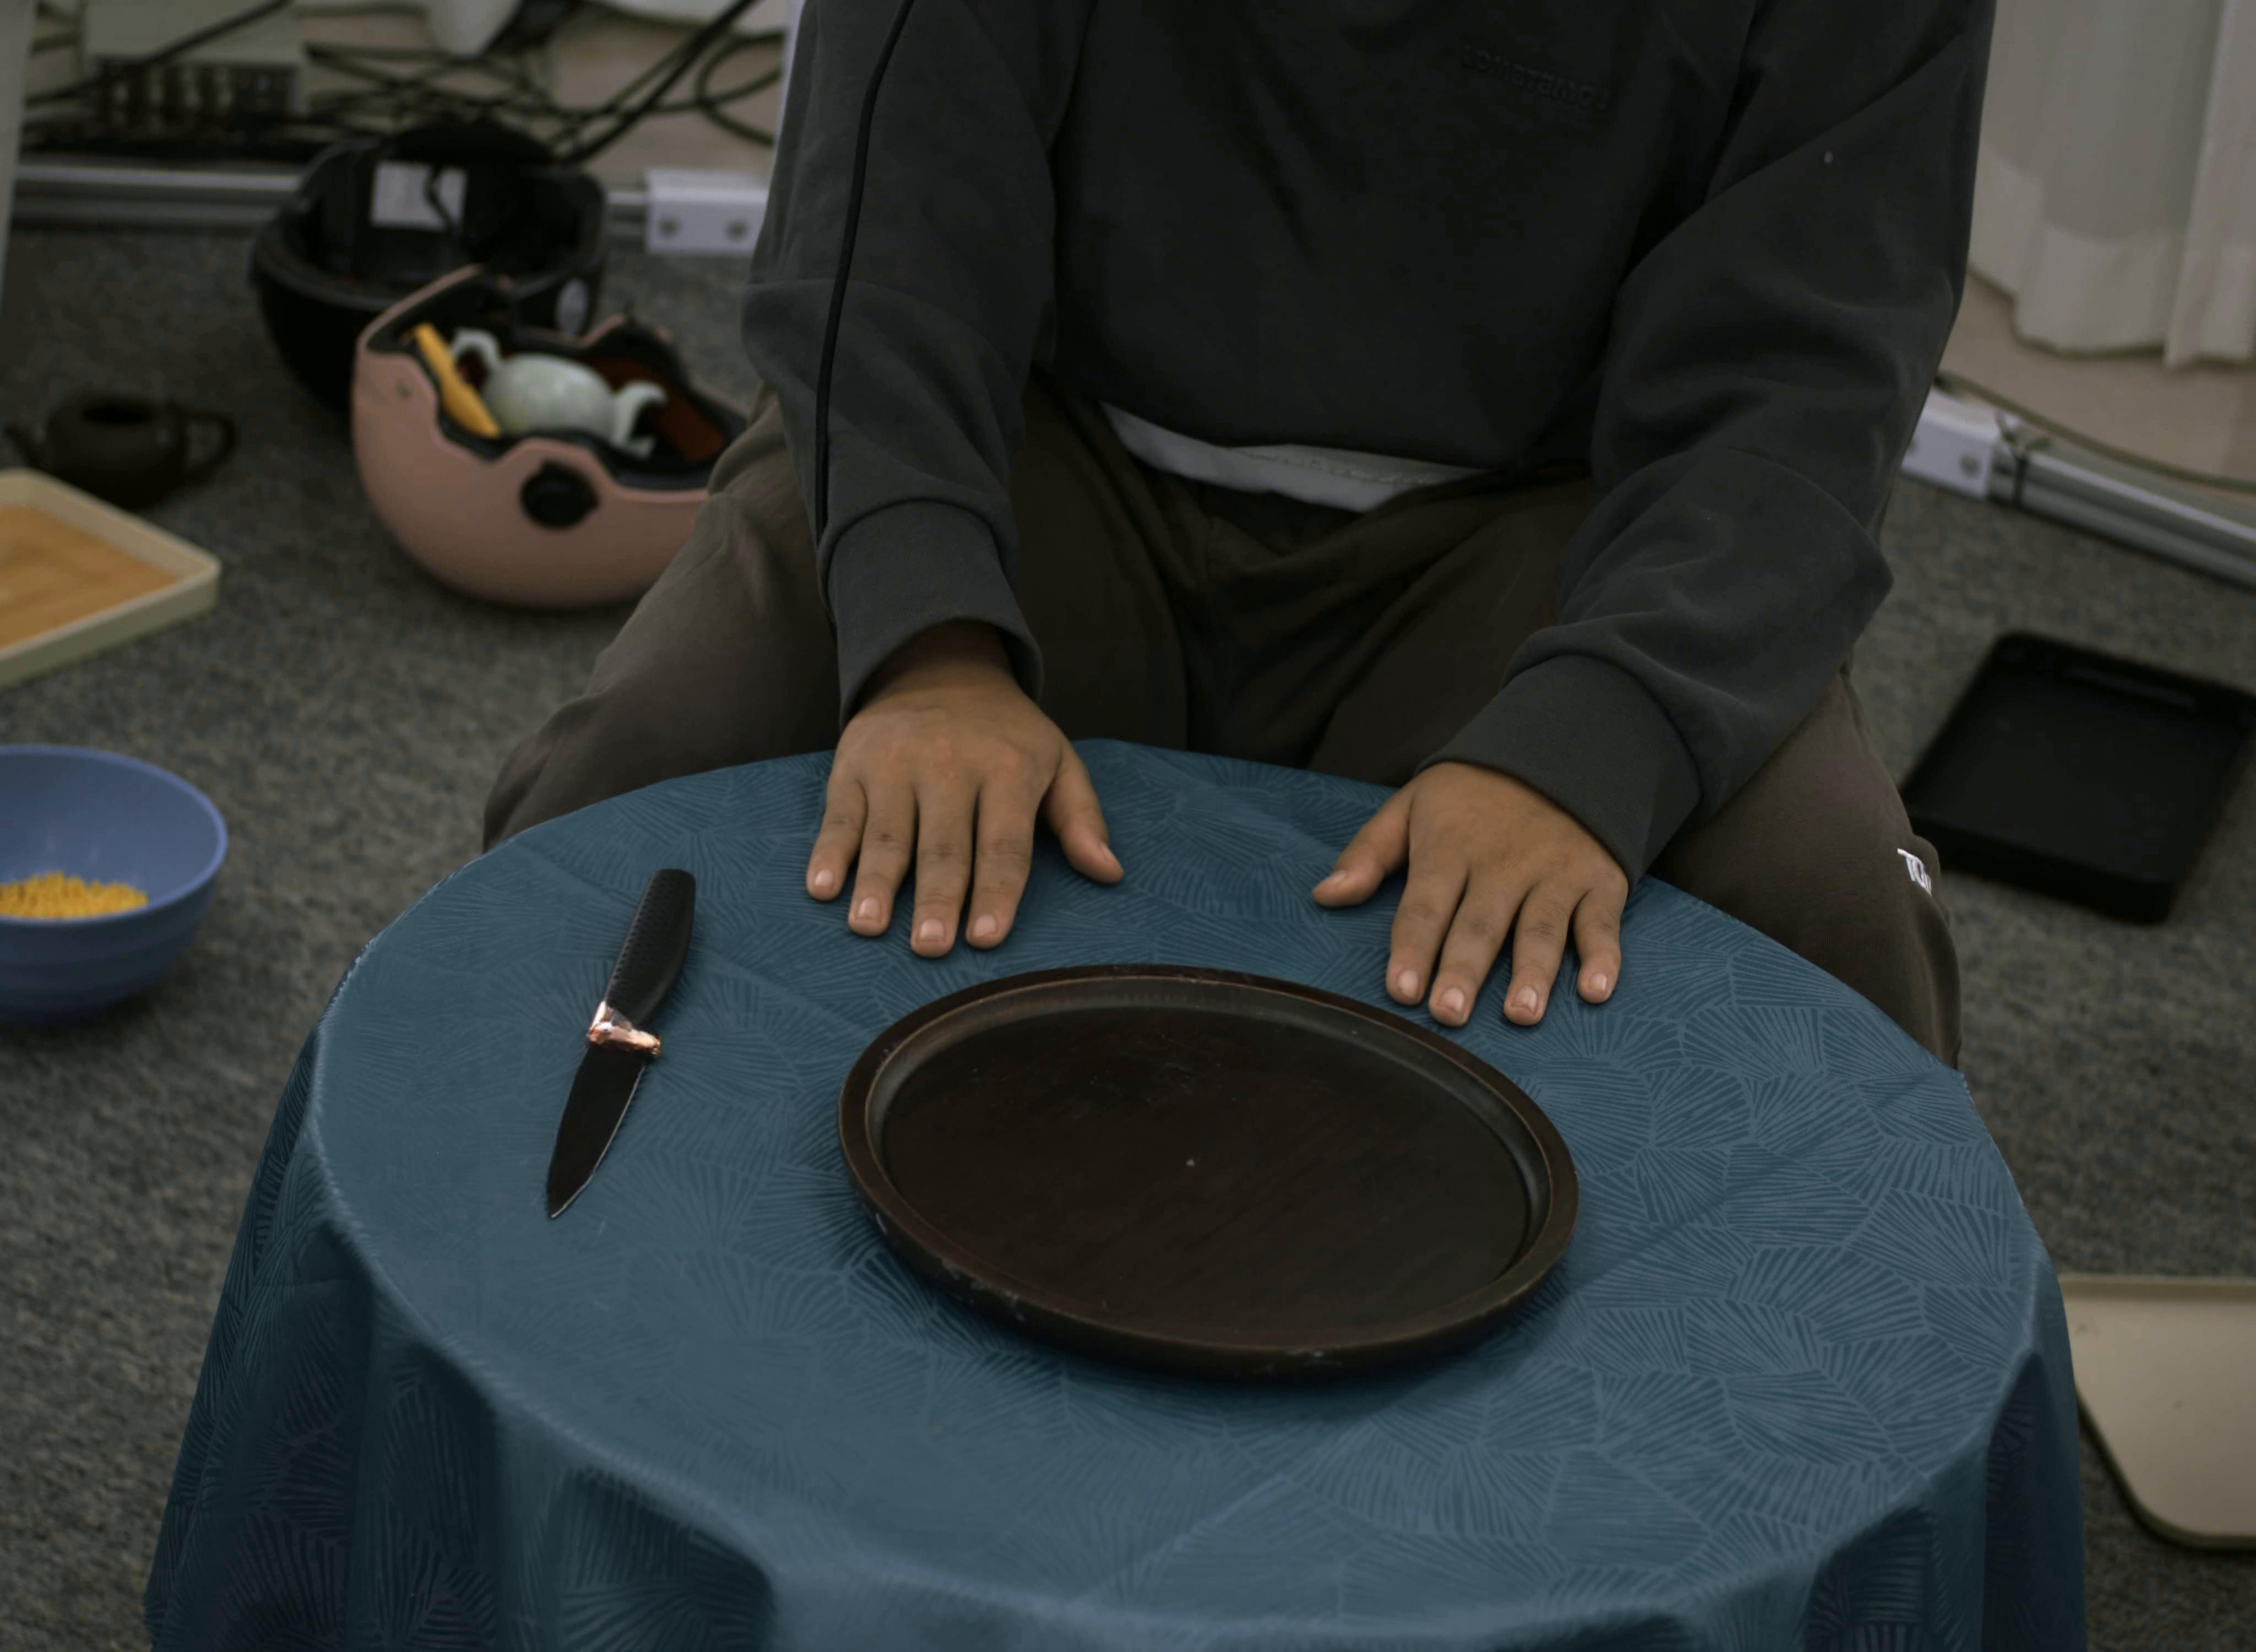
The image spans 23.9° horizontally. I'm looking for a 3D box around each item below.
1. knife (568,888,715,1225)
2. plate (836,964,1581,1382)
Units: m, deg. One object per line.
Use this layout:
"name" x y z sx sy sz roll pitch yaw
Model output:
"knife" -0.172 0.078 1.845 0.026 0.017 0.226 13 28 1
"plate" 0.027 0.116 1.803 0.254 0.029 0.256 4 26 -2
